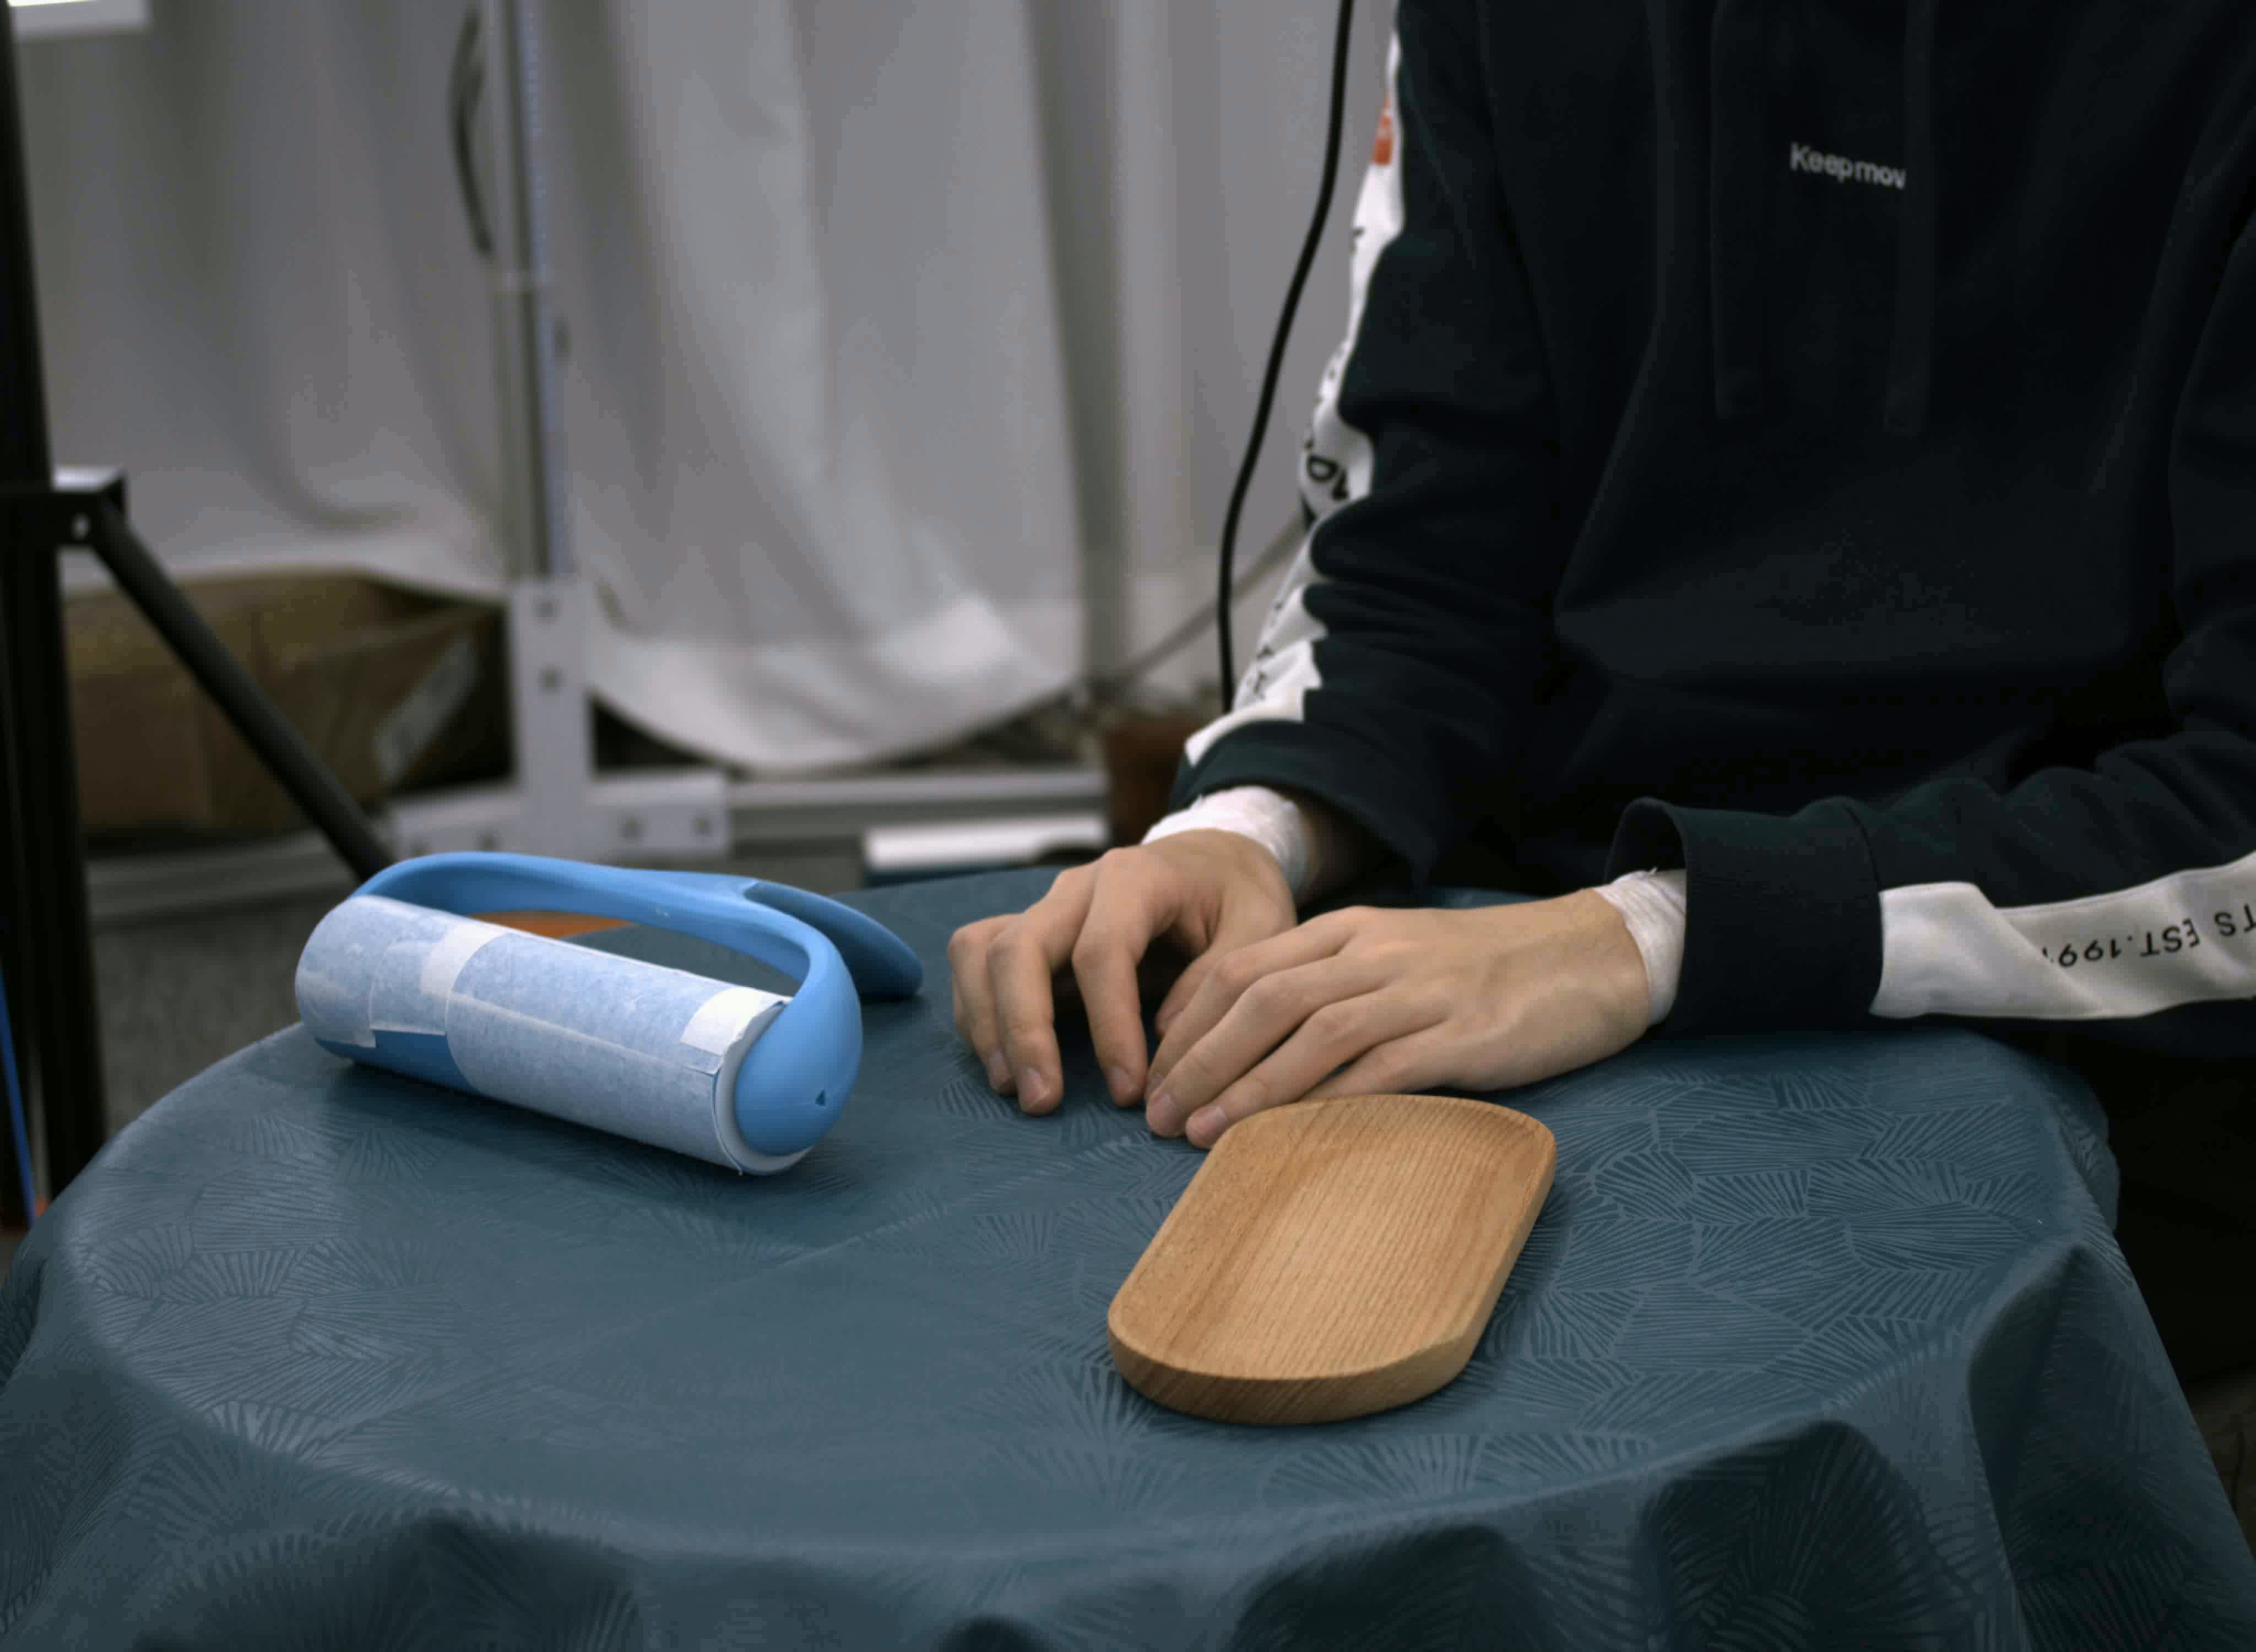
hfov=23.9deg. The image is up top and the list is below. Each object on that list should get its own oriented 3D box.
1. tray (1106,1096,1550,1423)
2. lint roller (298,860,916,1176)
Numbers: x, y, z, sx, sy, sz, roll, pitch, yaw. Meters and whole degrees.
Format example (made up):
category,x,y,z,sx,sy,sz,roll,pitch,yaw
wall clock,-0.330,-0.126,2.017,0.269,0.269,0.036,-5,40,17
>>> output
category,x,y,z,sx,sy,sz,roll,pitch,yaw
tray,0.059,0.119,1.482,0.102,0.020,0.229,2,15,13
lint roller,-0.137,0.048,1.688,0.234,0.068,0.176,9,21,40
